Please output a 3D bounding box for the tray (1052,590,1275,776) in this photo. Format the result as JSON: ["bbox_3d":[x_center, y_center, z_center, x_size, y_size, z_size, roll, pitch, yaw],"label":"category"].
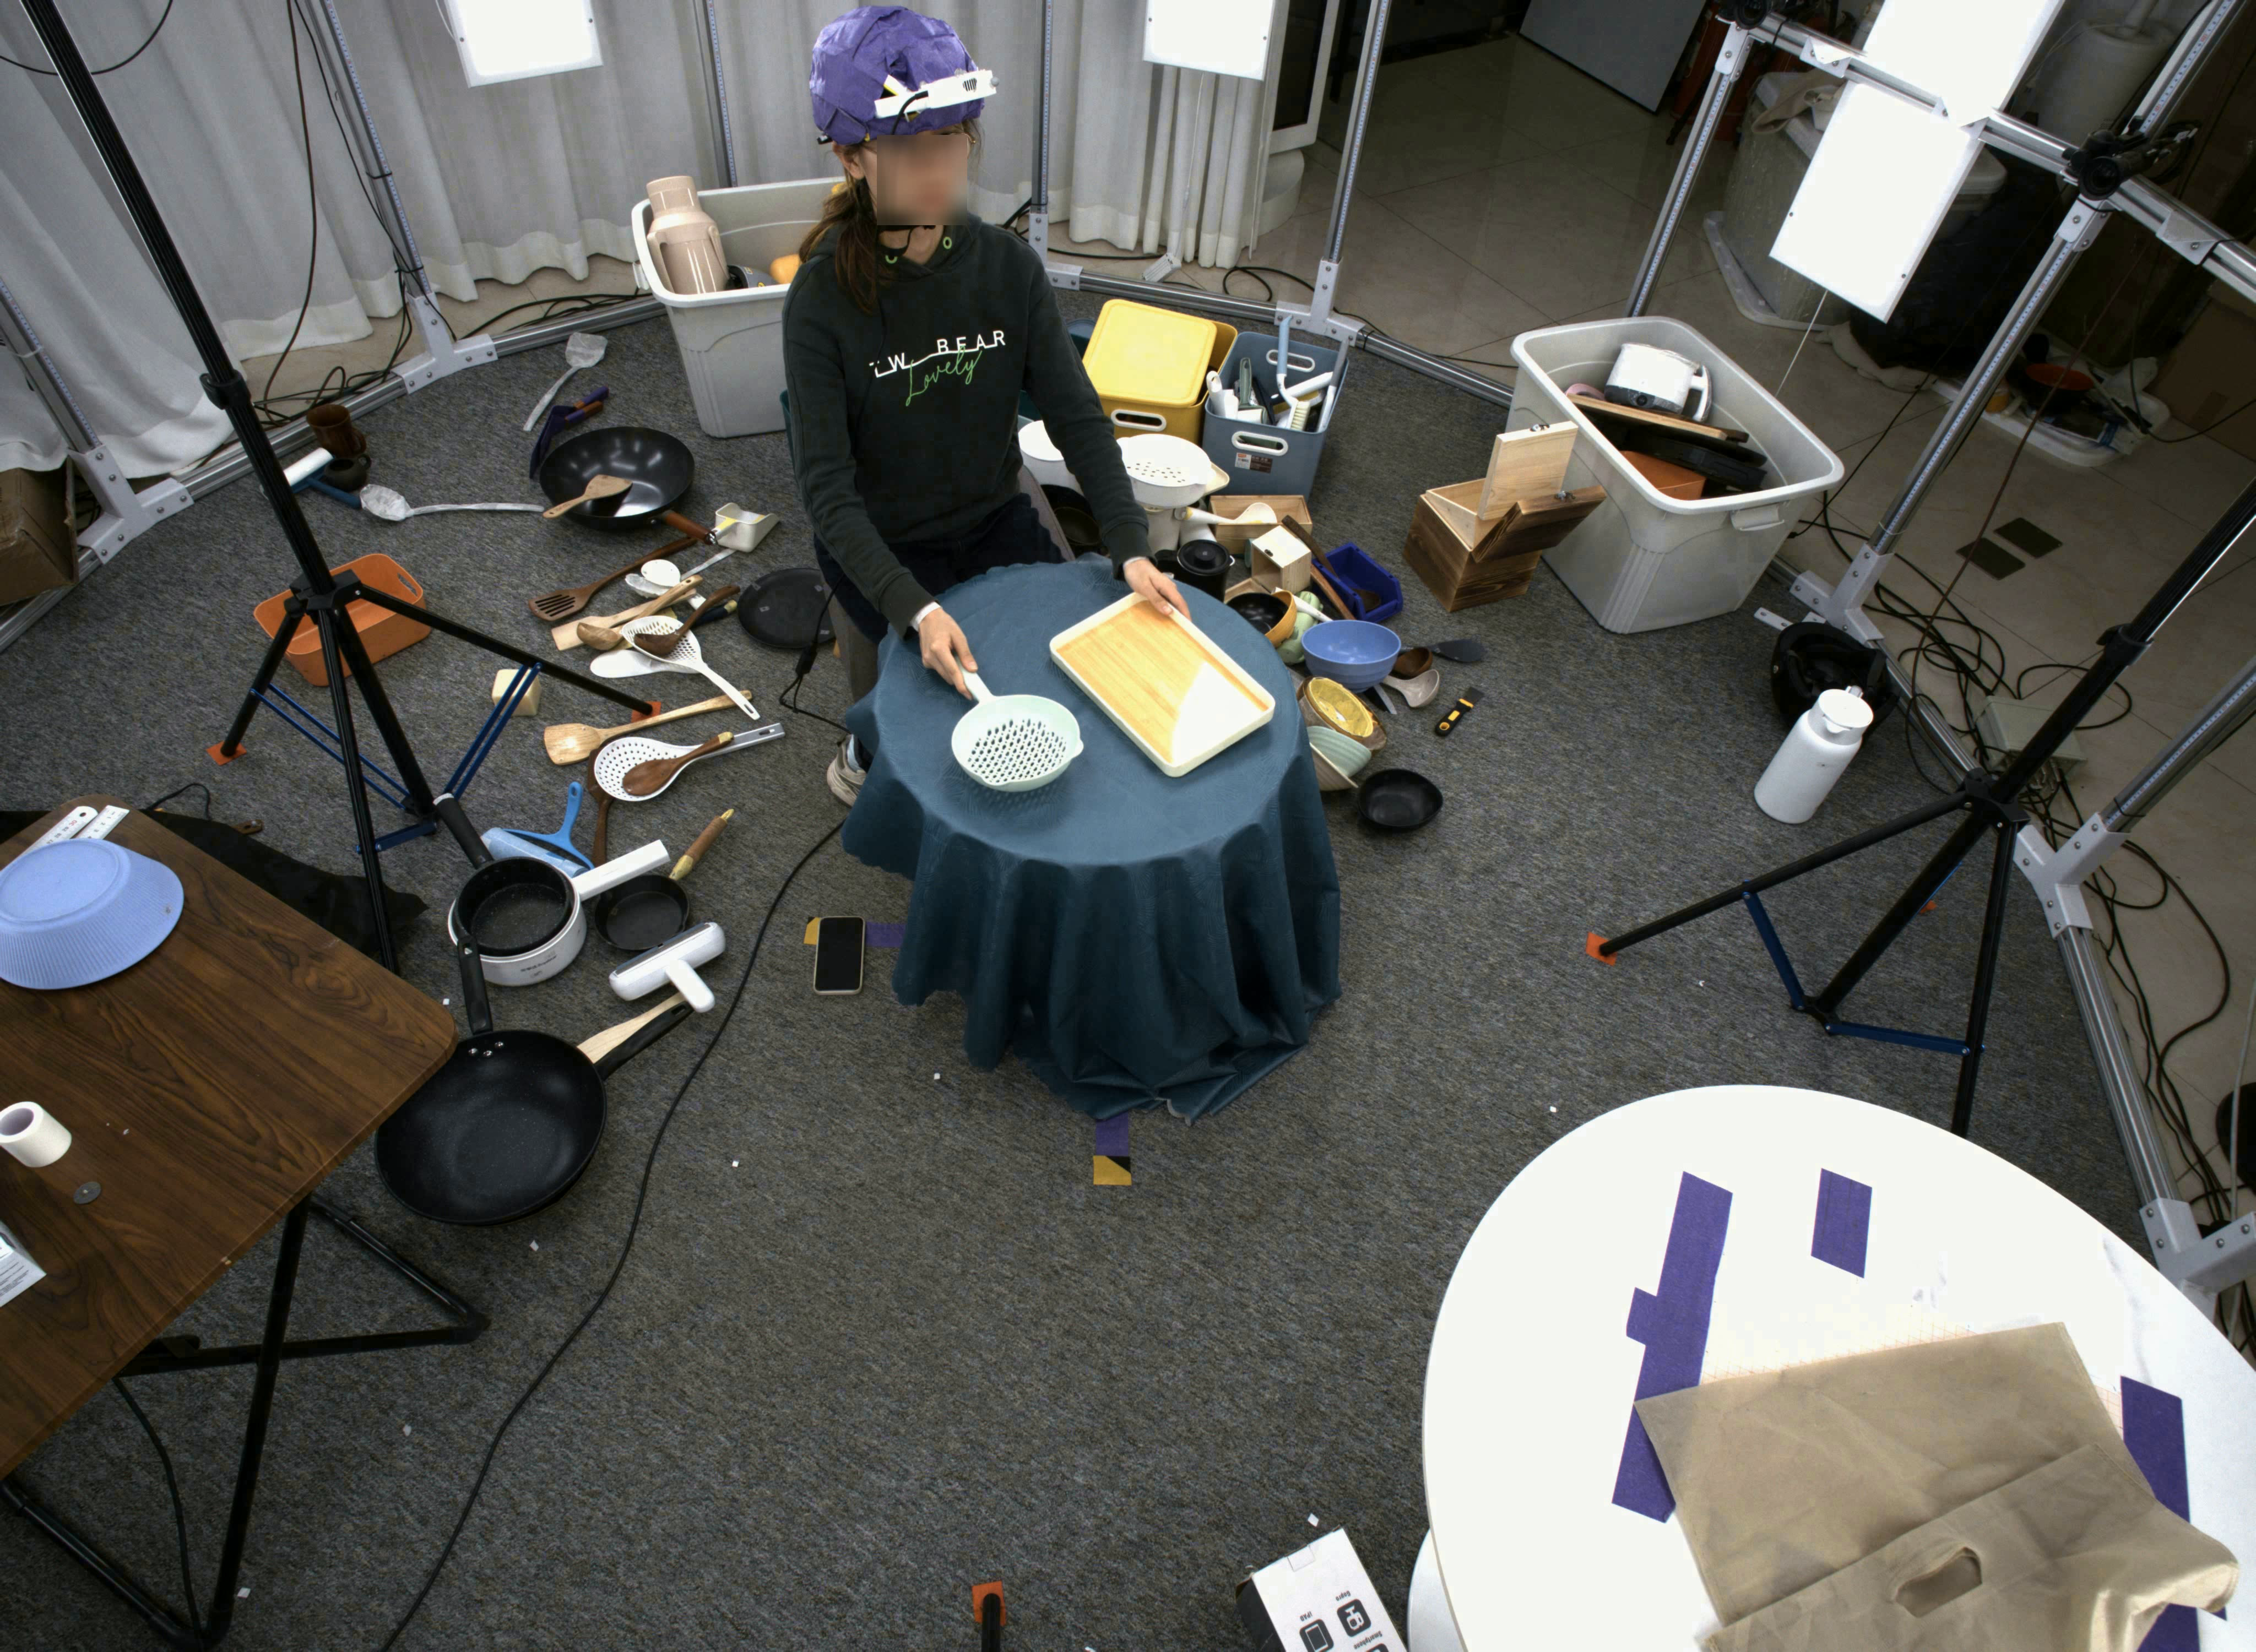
[{"bbox_3d":[0.048,-0.210,1.836,0.192,0.027,0.306,-31,58,-20],"label":"tray"}]

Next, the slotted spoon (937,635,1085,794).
[{"bbox_3d":[-0.192,-0.170,1.773,0.170,0.073,0.366,-22,56,-17],"label":"slotted spoon"}]
